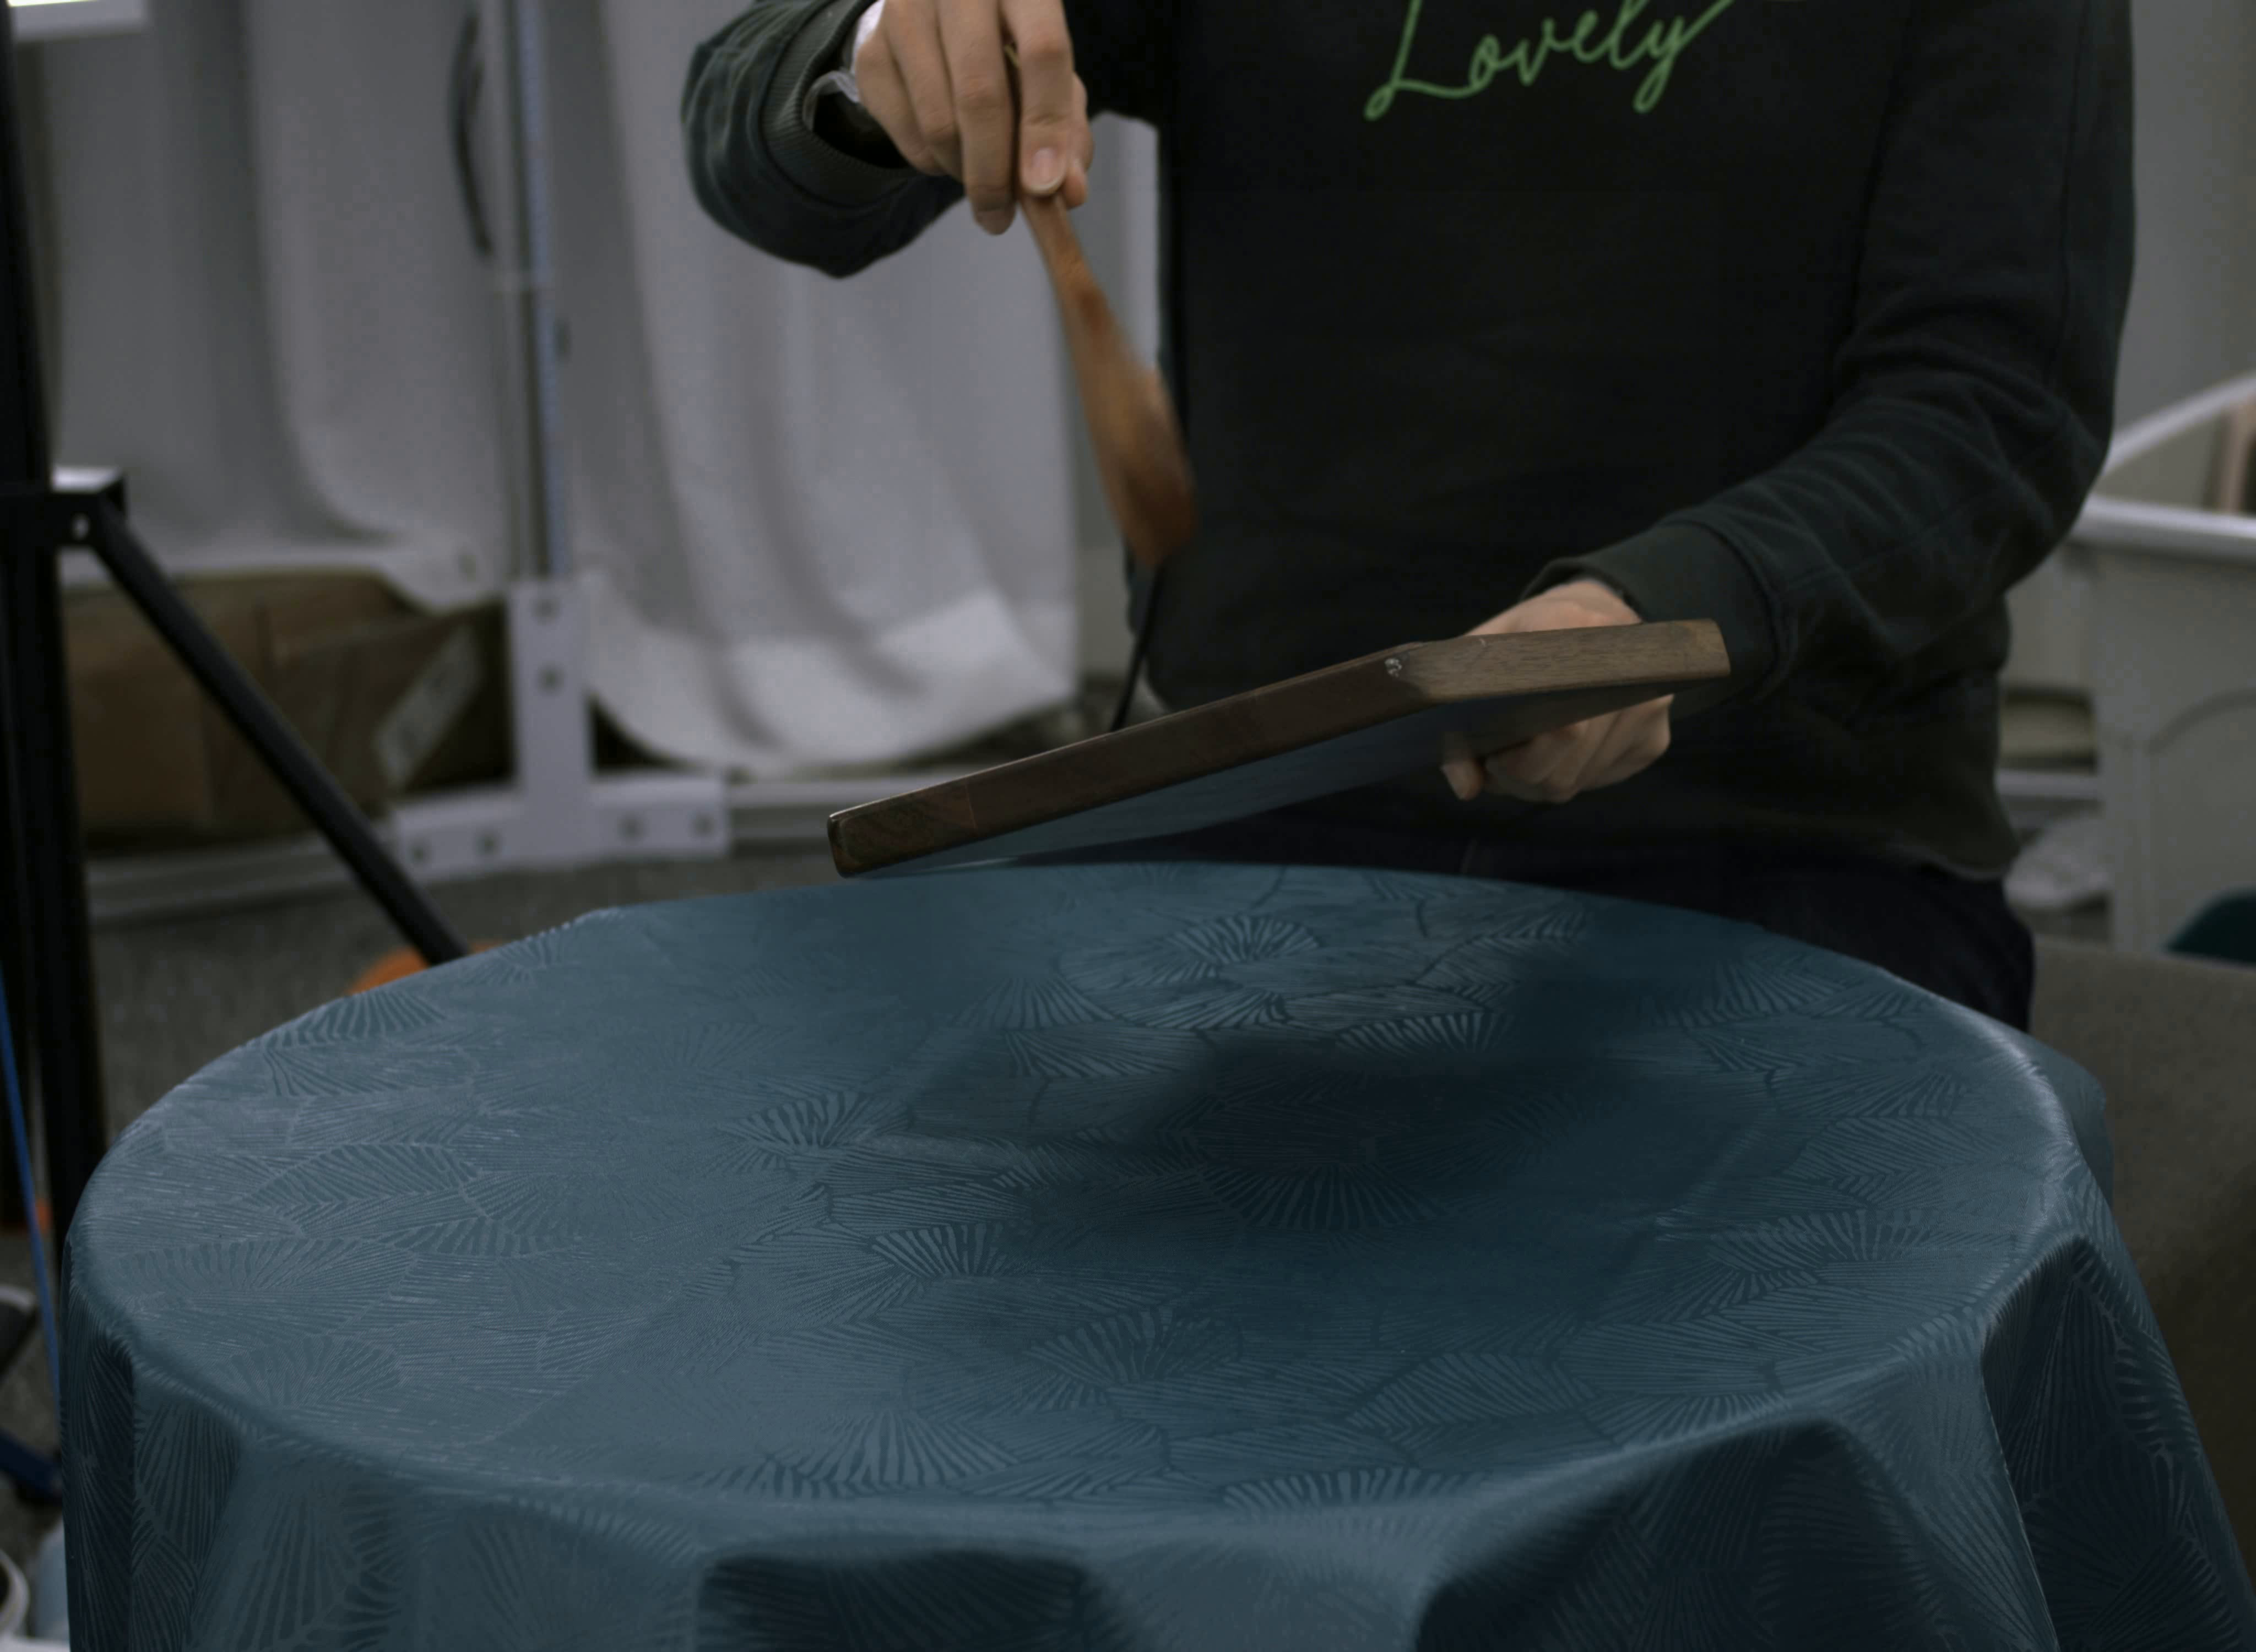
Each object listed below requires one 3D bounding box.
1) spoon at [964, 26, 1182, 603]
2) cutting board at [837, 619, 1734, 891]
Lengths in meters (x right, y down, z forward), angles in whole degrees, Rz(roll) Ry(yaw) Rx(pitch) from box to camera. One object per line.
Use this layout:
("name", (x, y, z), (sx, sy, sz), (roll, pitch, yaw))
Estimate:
("spoon", (-0.018, -0.158, 1.614), (0.017, 0.074, 0.219), (-15, 57, -4))
("cutting board", (0.072, -0.025, 1.613), (0.203, 0.023, 0.345), (-17, -4, 25))
